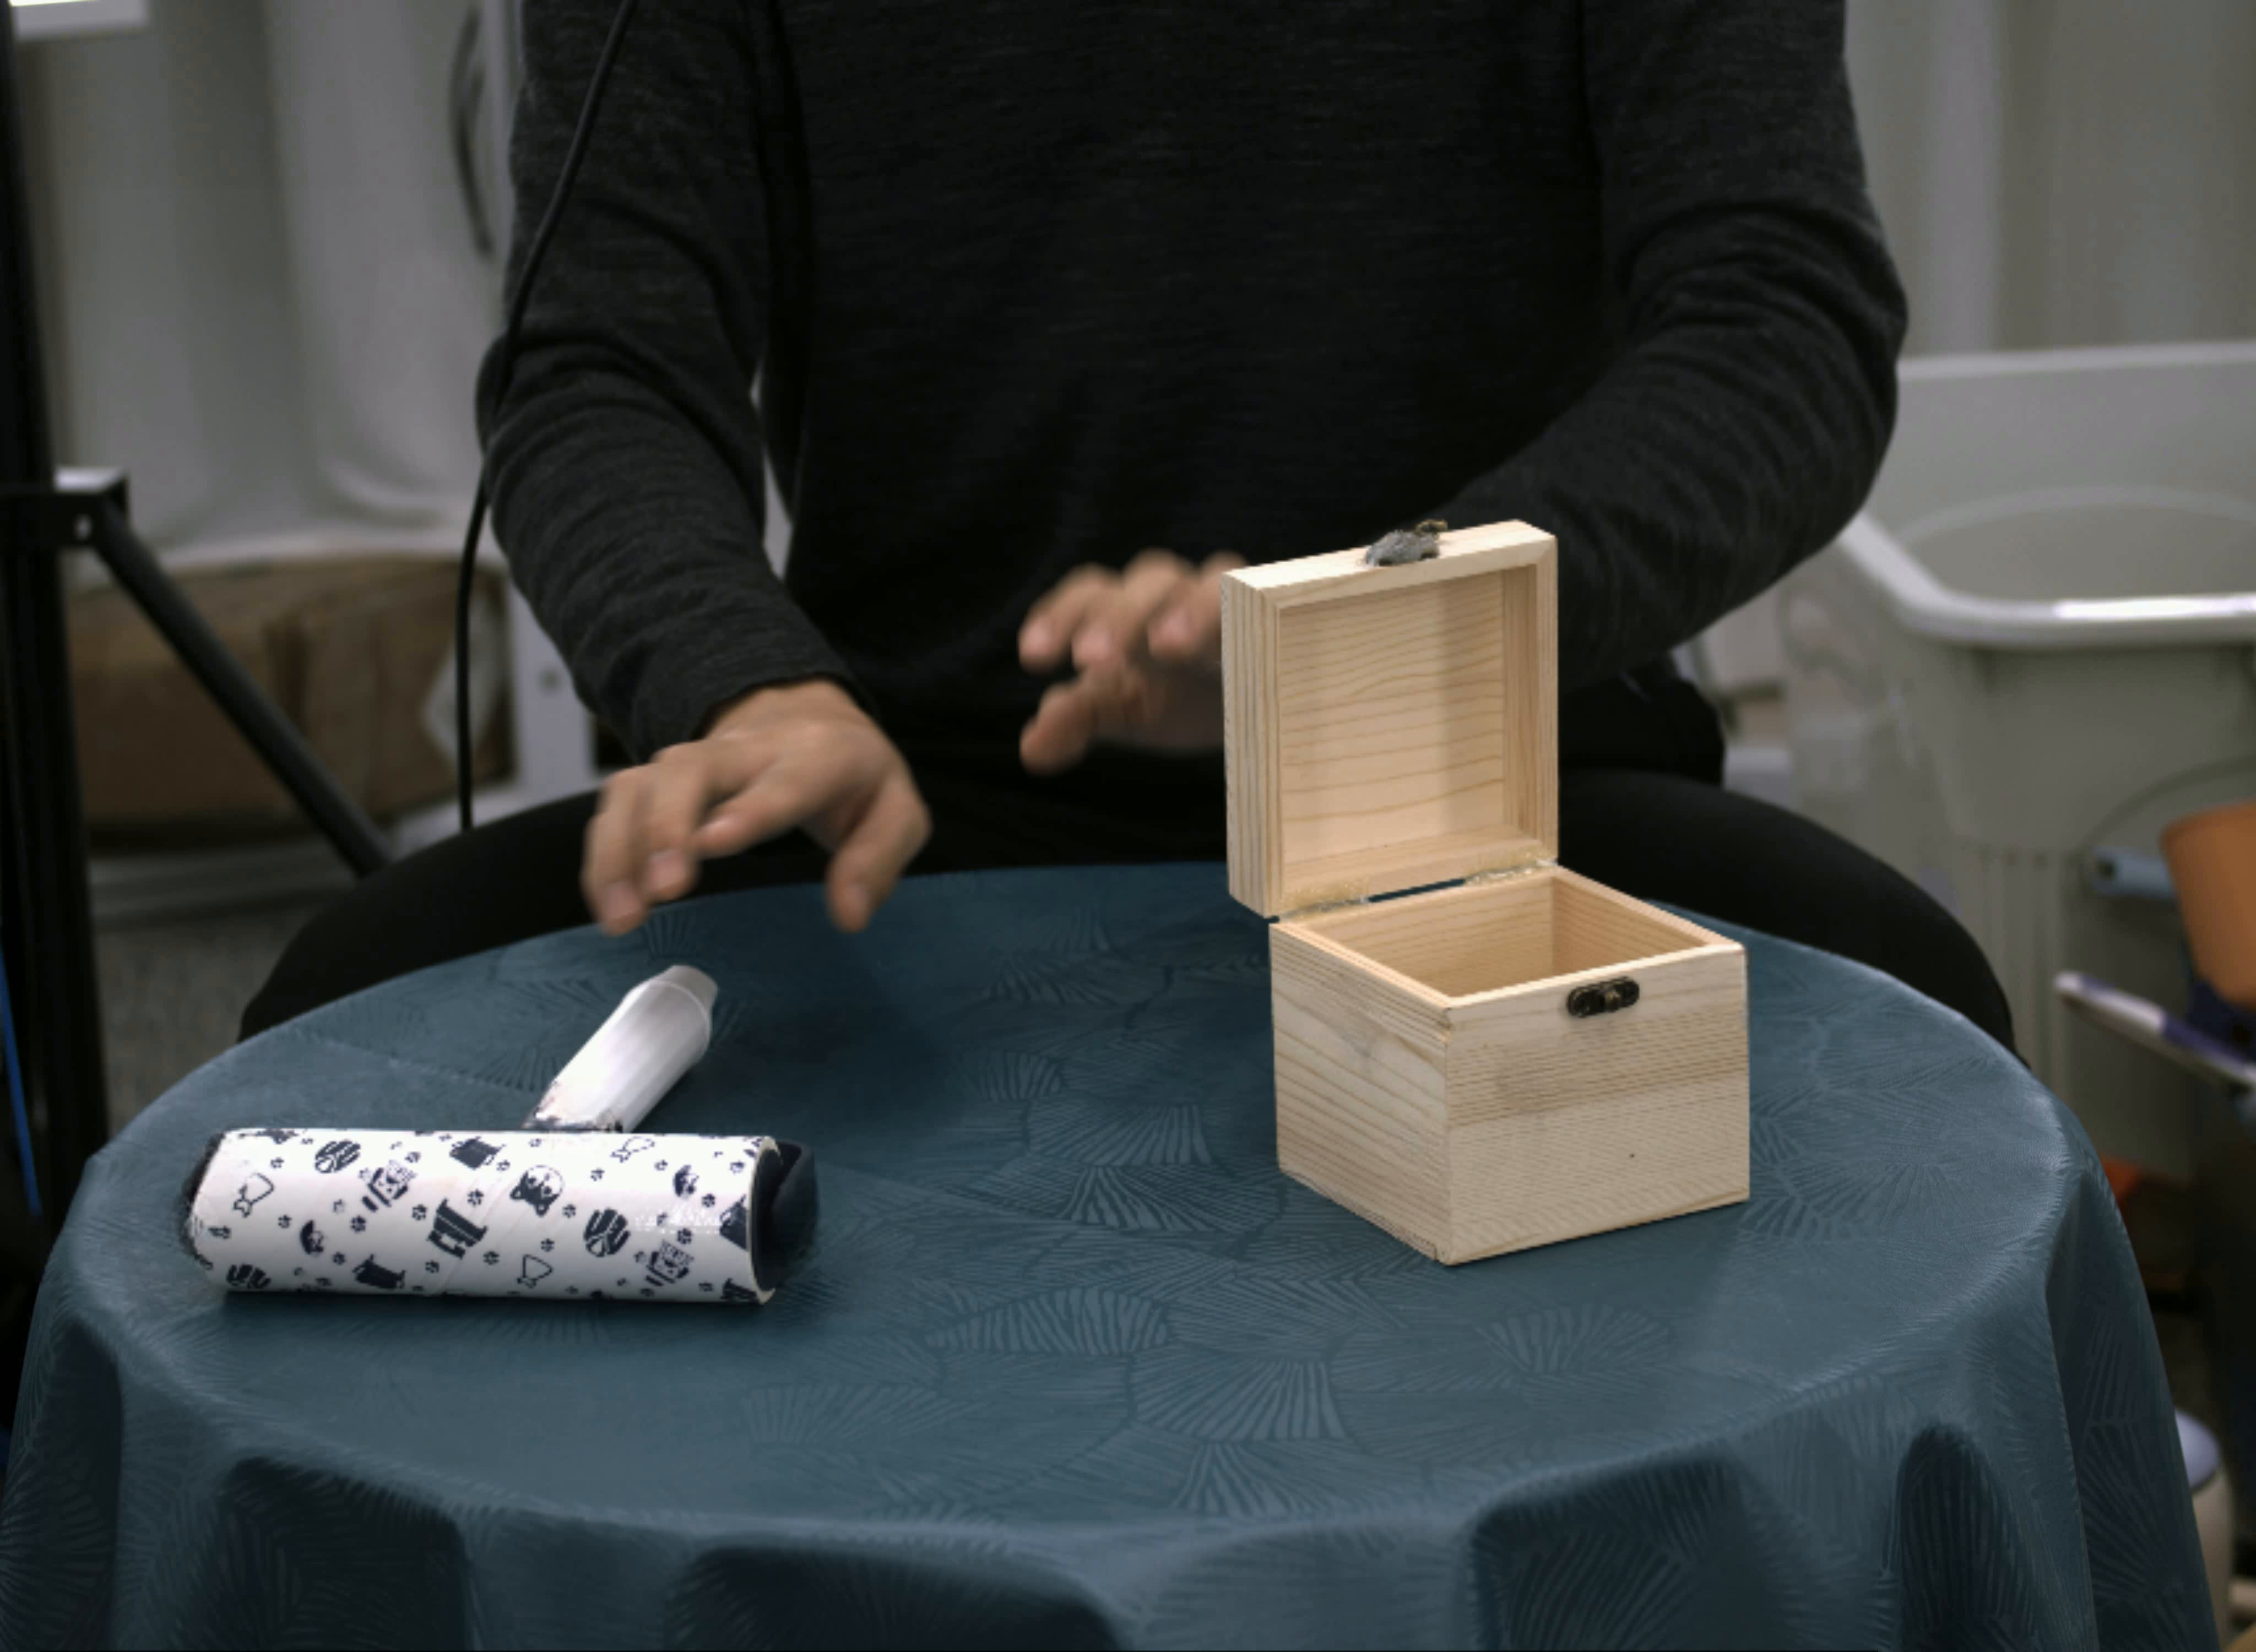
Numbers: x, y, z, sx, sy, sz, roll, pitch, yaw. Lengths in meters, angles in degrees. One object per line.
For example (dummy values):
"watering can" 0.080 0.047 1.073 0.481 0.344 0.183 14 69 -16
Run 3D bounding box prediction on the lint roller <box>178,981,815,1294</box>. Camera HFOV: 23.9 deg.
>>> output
"lint roller" -0.164 0.082 1.596 0.177 0.050 0.246 -1 15 10

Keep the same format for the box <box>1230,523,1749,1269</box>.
"box" 0.104 0.017 1.530 0.100 0.184 0.136 -9 15 -26
